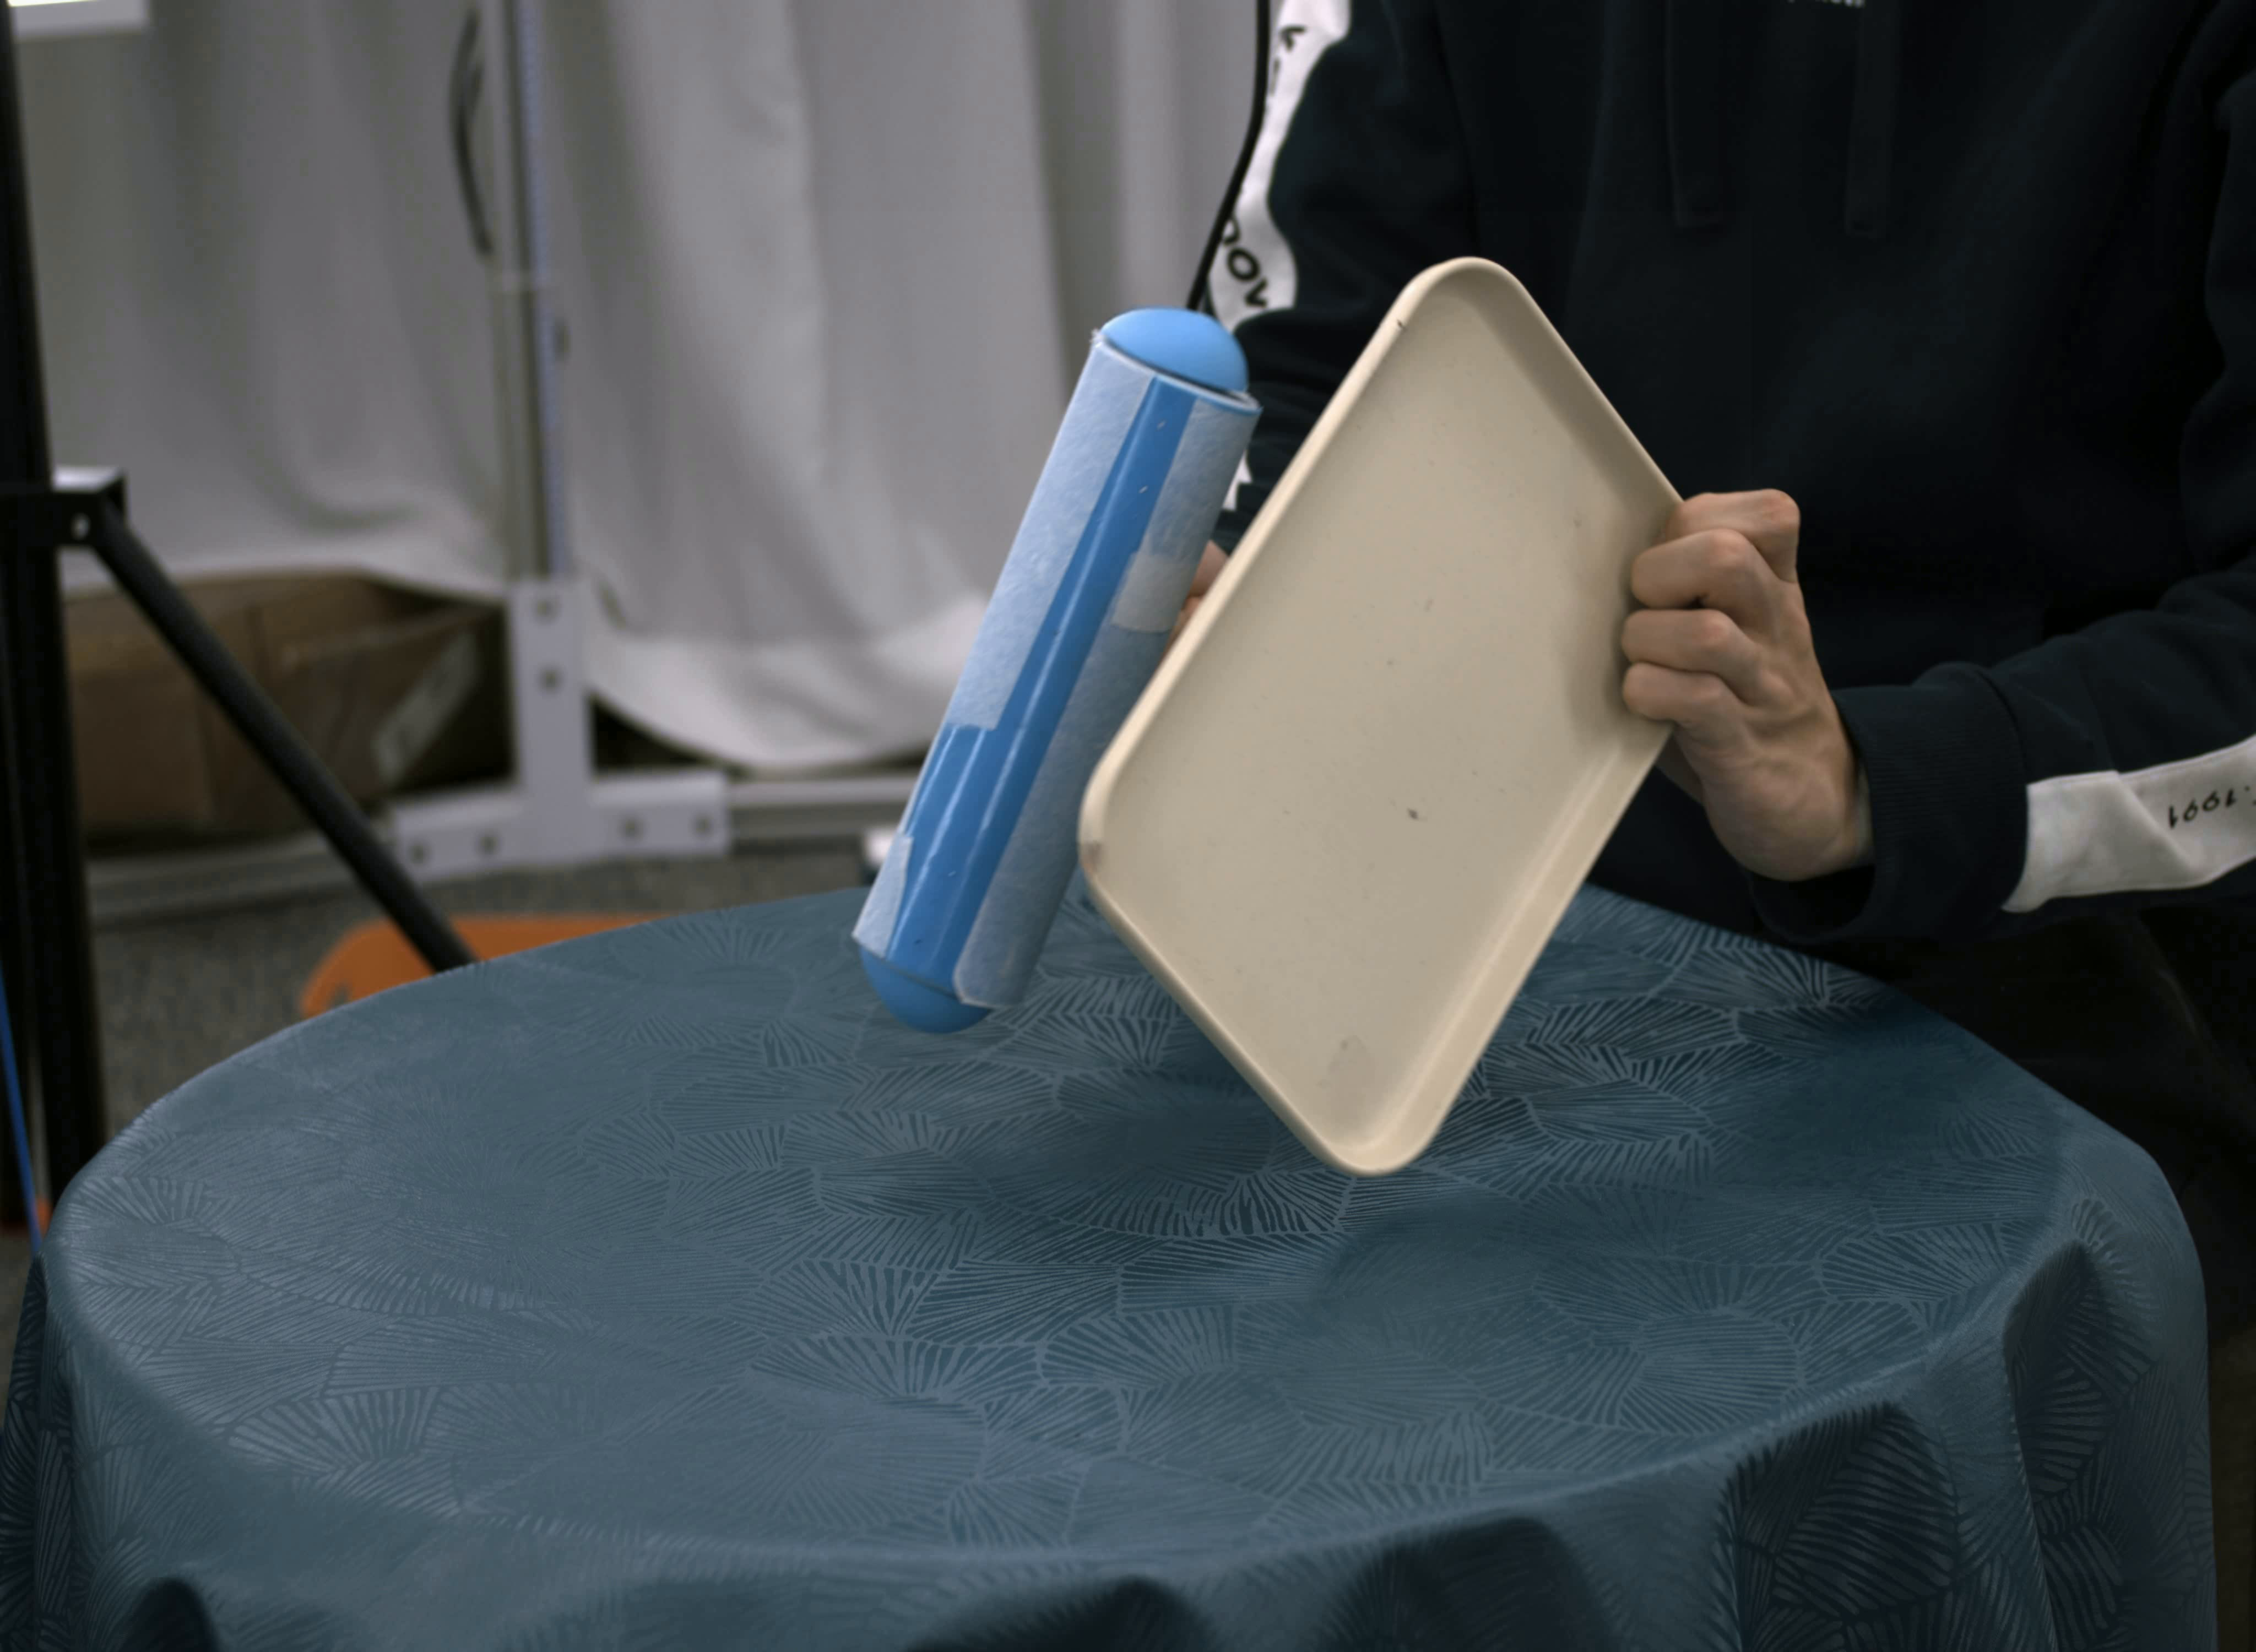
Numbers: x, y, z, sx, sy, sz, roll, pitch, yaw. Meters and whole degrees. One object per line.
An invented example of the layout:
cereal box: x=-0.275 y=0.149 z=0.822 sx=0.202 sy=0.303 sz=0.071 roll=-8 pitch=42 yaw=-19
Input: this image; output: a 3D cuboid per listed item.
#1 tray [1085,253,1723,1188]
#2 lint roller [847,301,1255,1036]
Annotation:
tray: x=0.081 y=-0.030 z=1.523 sx=0.018 sy=0.168 sz=0.239 roll=4 pitch=53 yaw=48
lint roller: x=-0.010 y=-0.046 z=1.623 sx=0.068 sy=0.230 sz=0.178 roll=23 pitch=6 yaw=13
